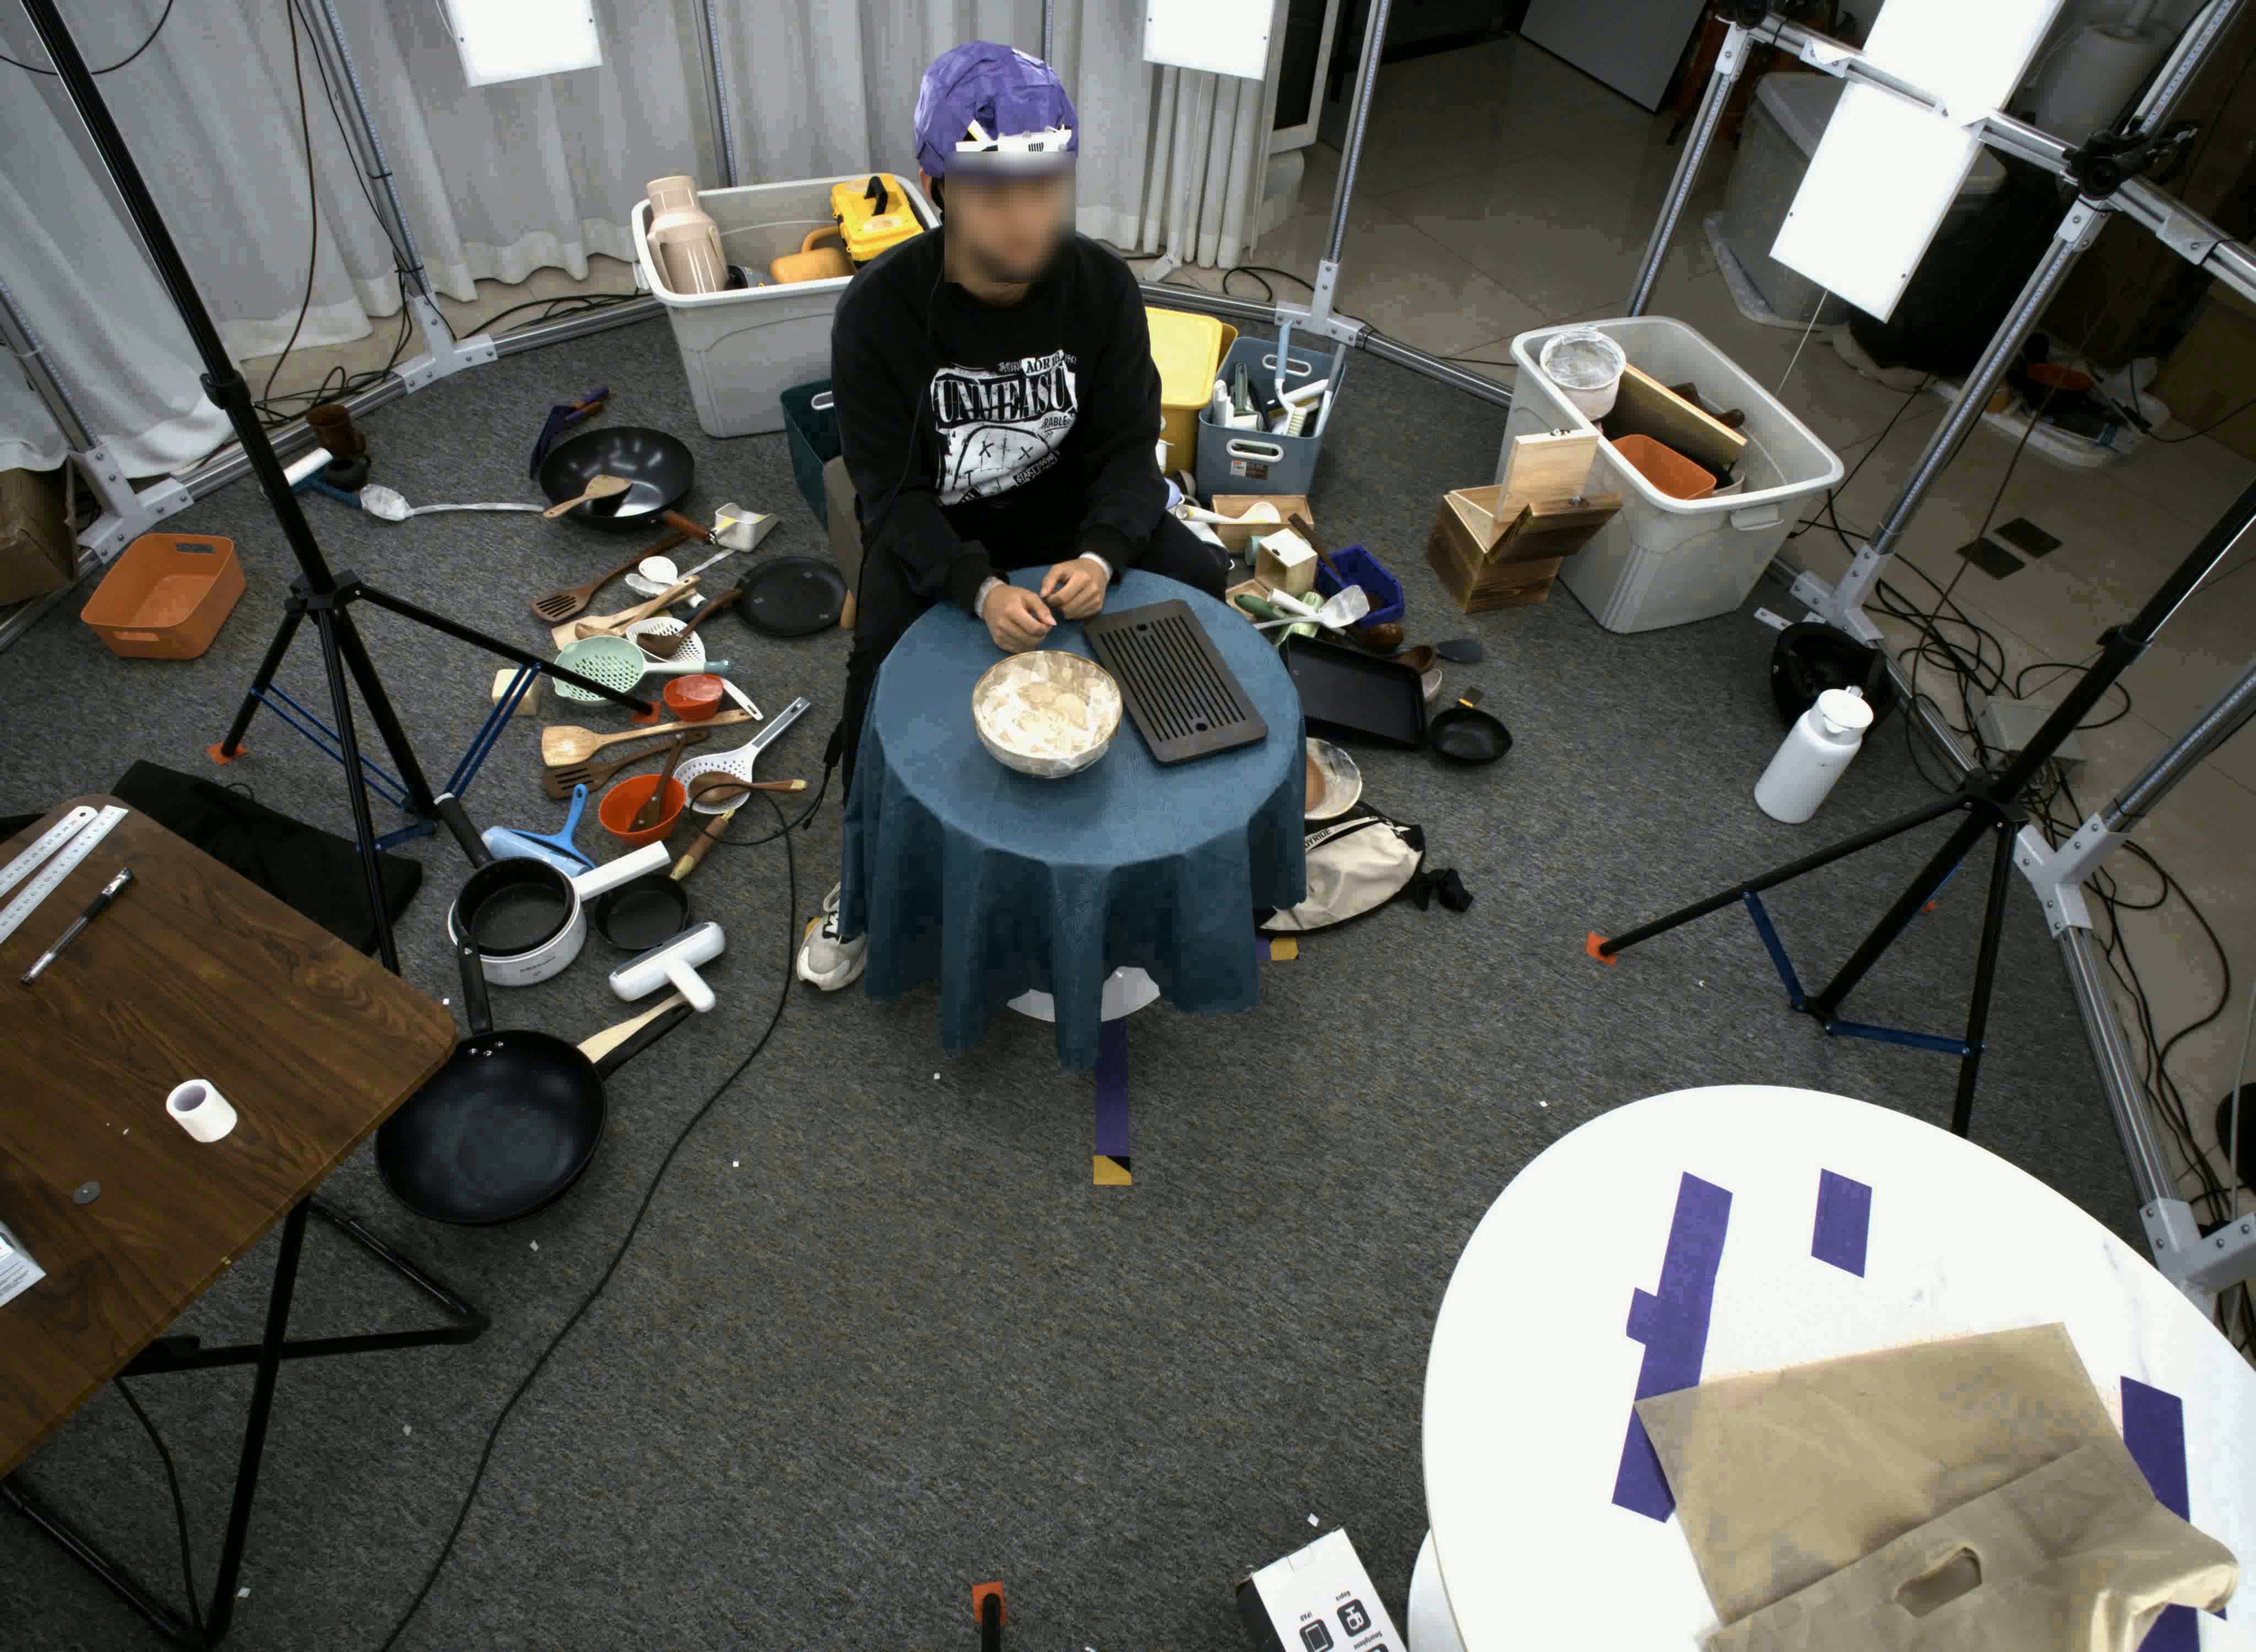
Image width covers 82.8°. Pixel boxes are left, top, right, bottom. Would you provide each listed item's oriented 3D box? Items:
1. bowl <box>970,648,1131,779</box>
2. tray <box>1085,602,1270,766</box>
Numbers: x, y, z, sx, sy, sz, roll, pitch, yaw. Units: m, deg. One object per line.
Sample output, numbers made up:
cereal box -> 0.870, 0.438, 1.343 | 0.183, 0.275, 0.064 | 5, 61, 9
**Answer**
bowl -> -0.105, -0.137, 1.736 | 0.214, 0.092, 0.220 | 1, 49, -1
tray -> 0.067, -0.210, 1.861 | 0.170, 0.018, 0.313 | -15, 51, -16
